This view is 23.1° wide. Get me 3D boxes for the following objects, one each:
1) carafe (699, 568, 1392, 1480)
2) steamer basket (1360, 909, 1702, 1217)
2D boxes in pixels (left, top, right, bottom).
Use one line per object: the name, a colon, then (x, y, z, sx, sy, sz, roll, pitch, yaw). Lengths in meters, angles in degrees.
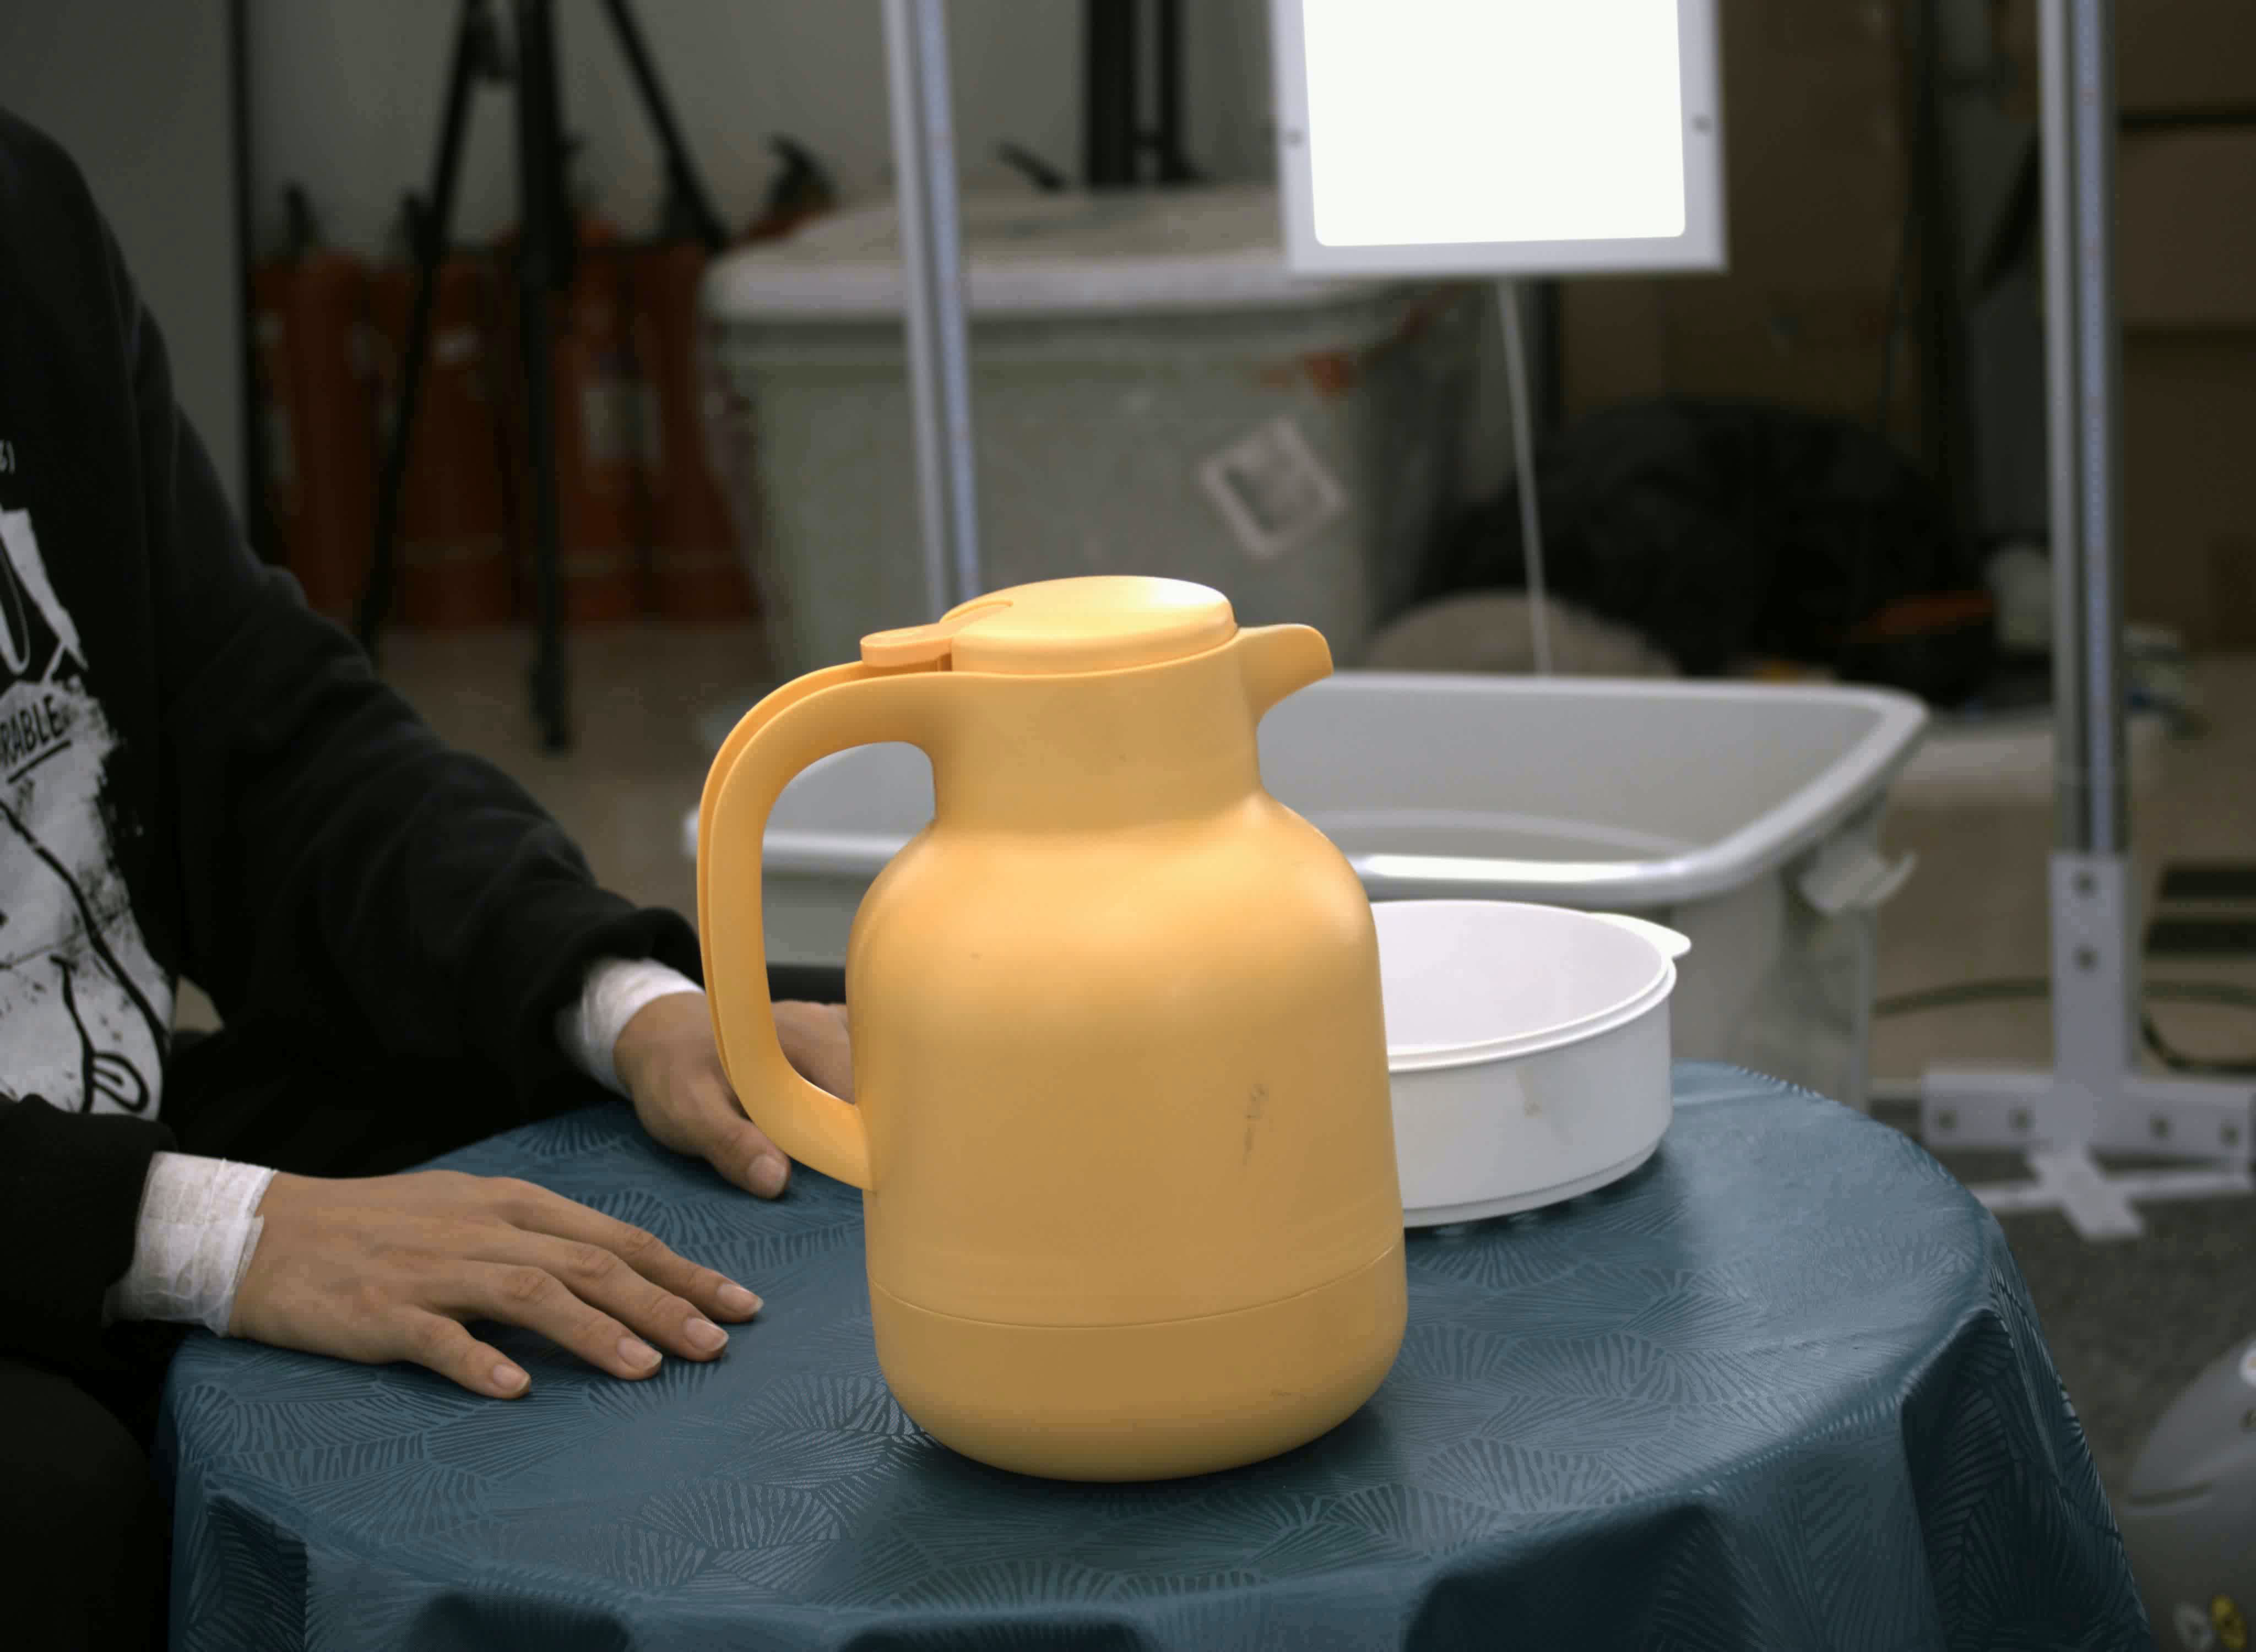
carafe: (-0.025, 0.056, 1.642, 0.200, 0.261, 0.164, -5, 11, -7)
steamer basket: (0.095, 0.082, 1.901, 0.225, 0.069, 0.205, -9, 13, -26)
